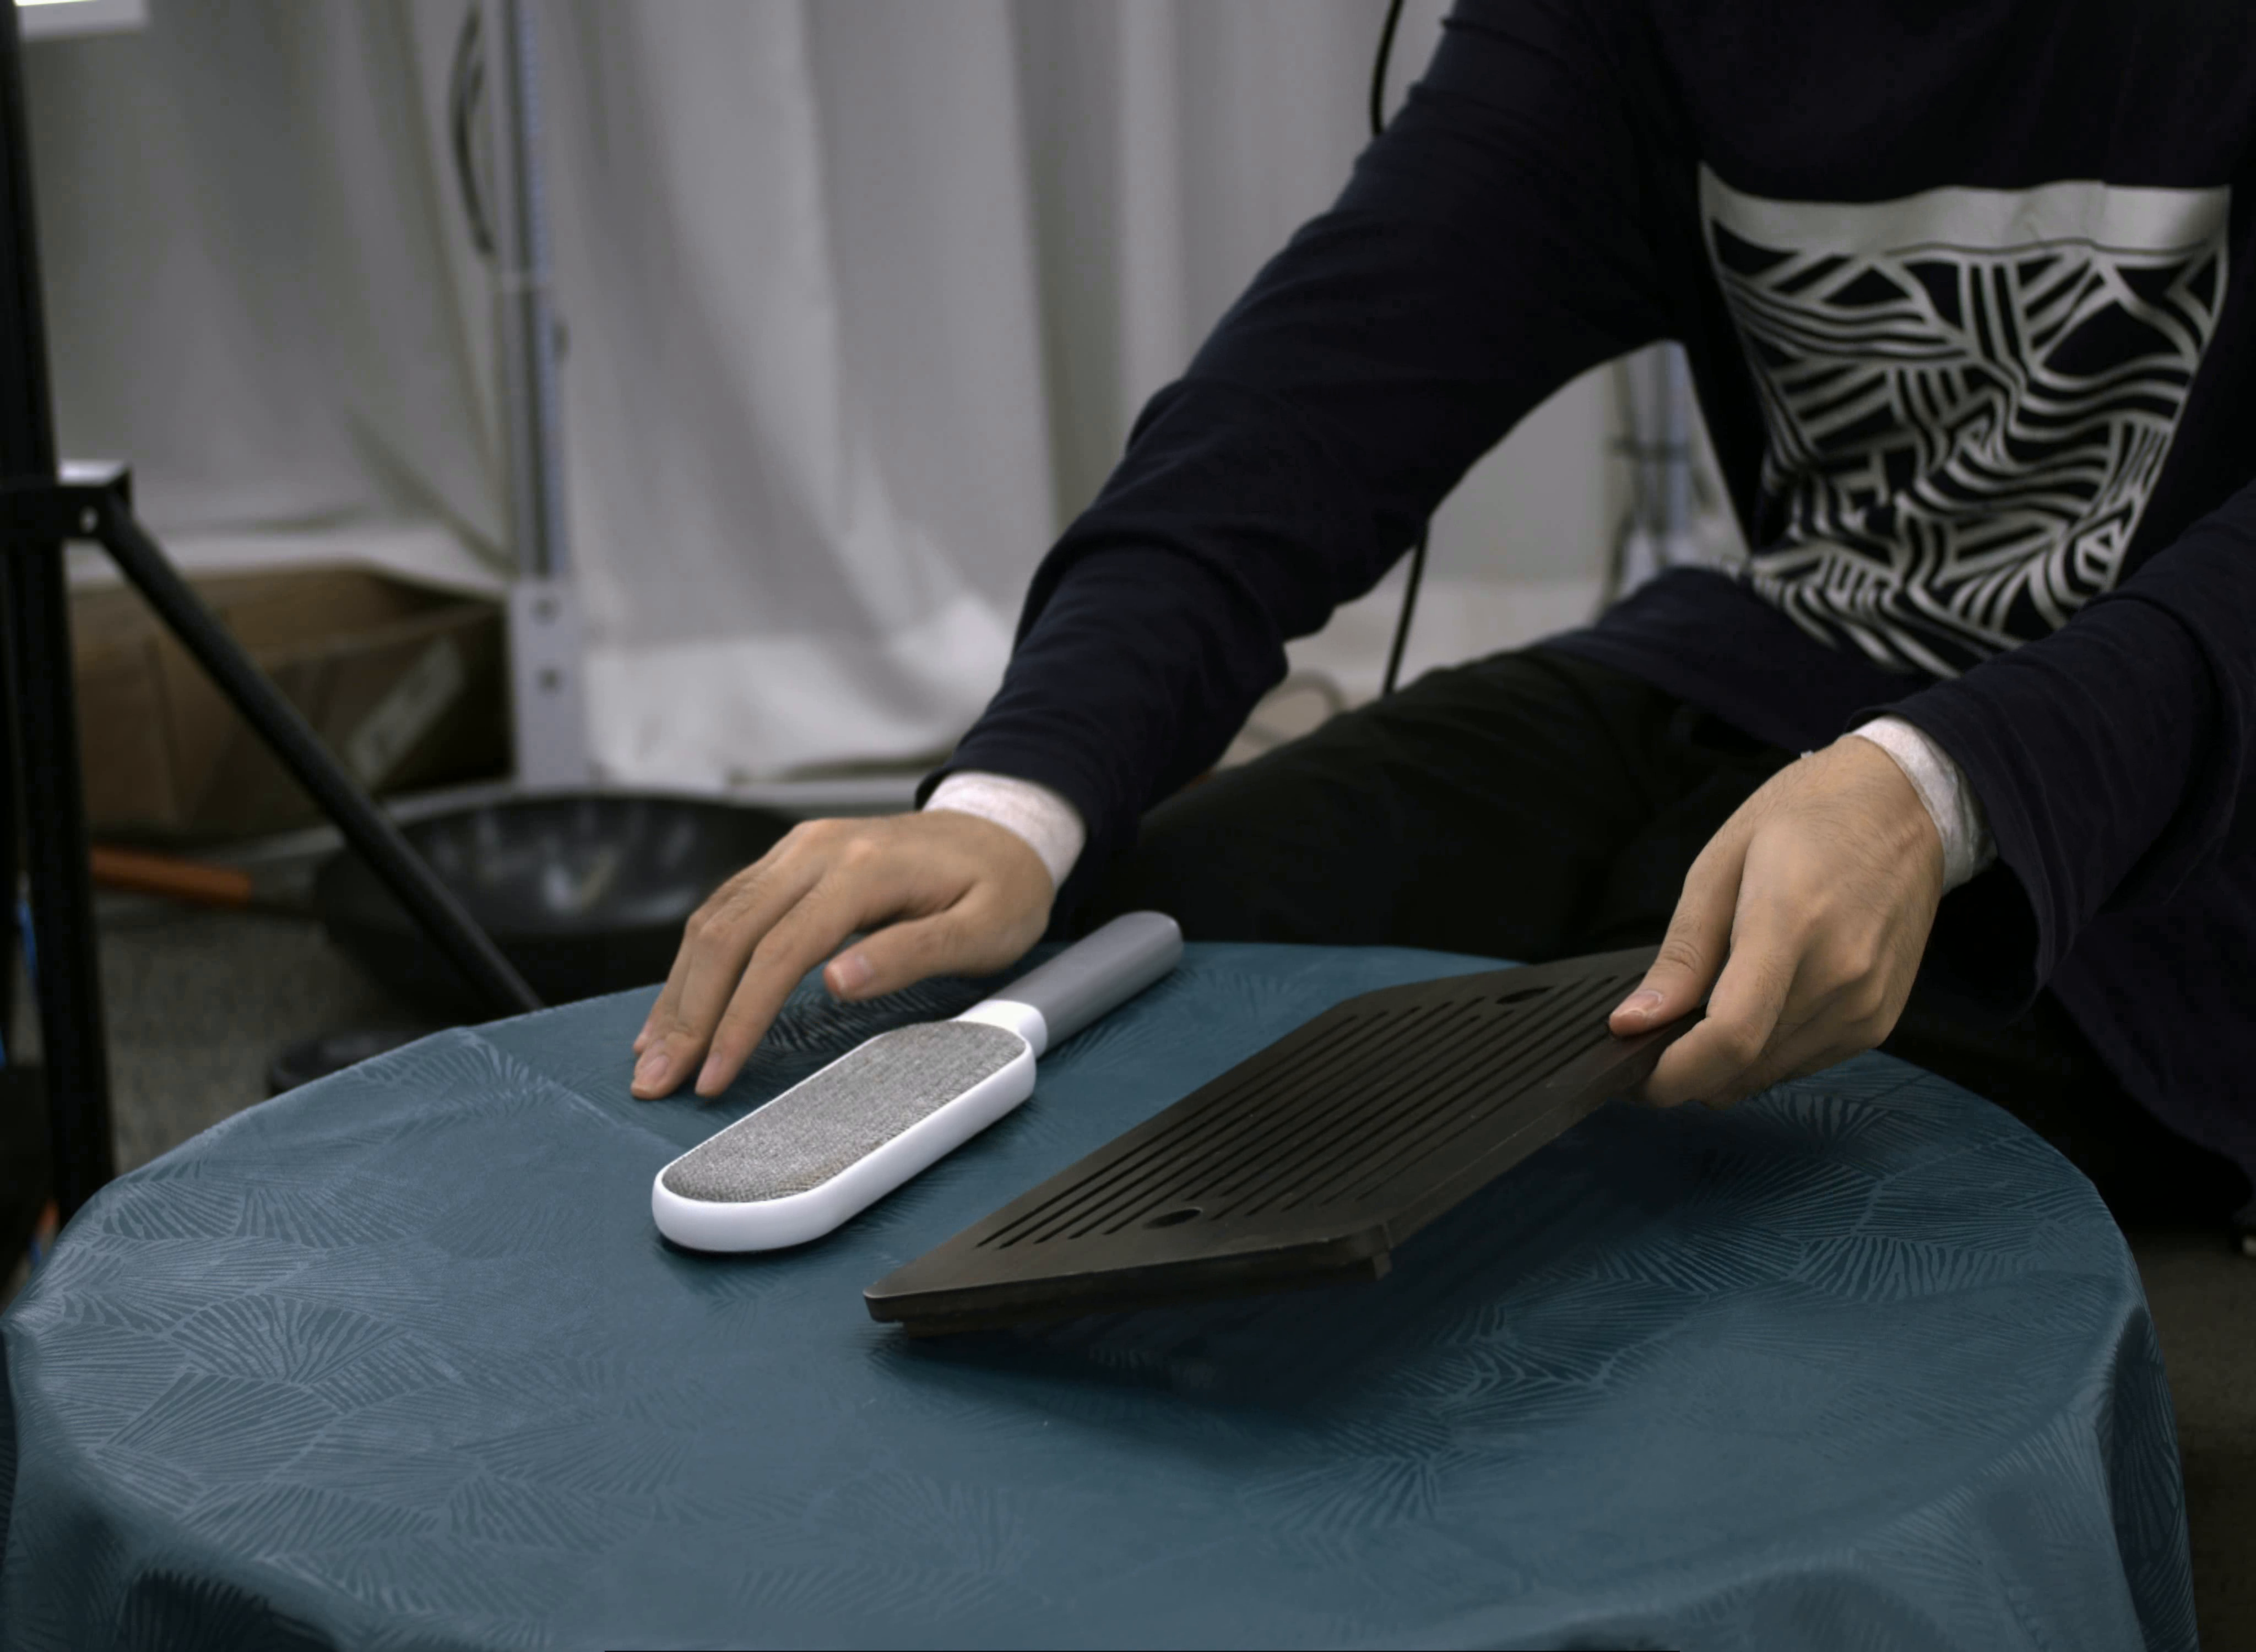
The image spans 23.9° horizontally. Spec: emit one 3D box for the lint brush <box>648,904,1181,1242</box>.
[{"bbox_3d":[-0.055,0.073,1.646,0.061,0.021,0.304,0,15,27],"label":"lint brush"}]

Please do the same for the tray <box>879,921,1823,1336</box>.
[{"bbox_3d":[0.072,0.086,1.521,0.173,0.018,0.300,-11,9,33],"label":"tray"}]
